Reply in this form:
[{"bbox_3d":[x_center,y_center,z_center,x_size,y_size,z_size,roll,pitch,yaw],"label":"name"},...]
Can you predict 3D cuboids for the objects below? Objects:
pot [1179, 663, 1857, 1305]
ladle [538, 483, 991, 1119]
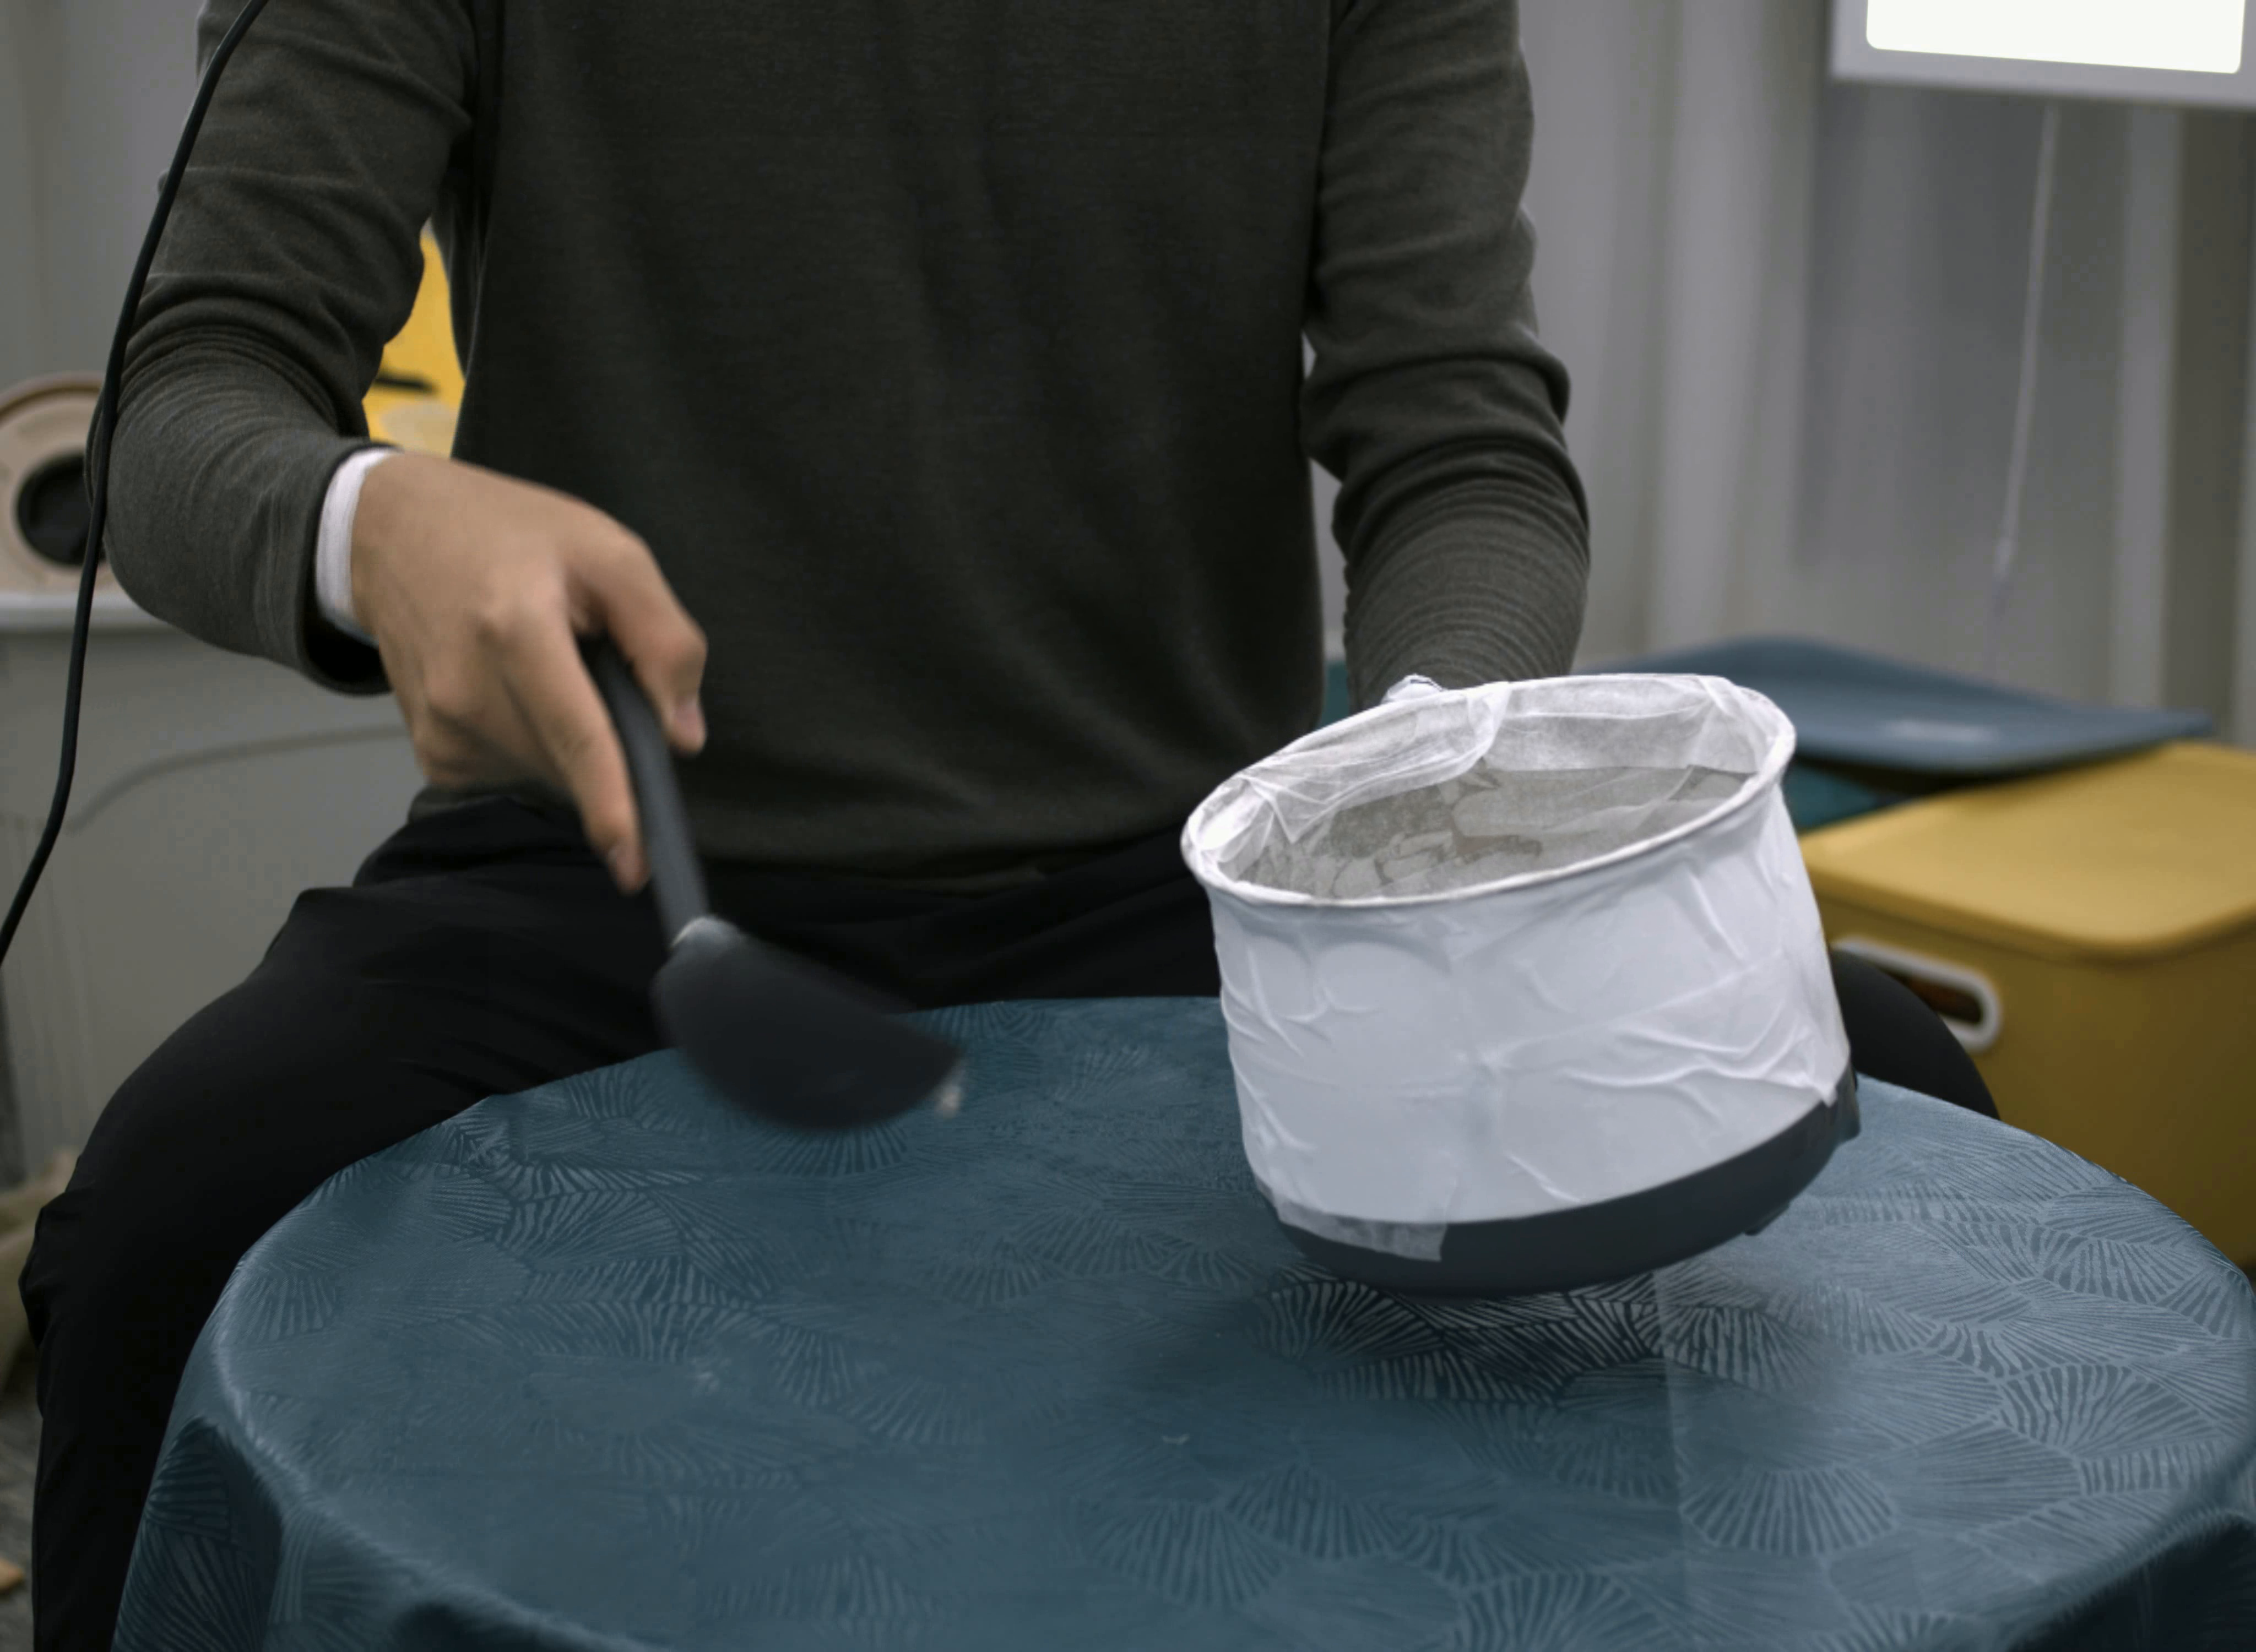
[{"bbox_3d":[0.108,0.037,1.530,0.178,0.138,0.231,-14,19,-7],"label":"pot"},{"bbox_3d":[-0.116,-0.025,1.473,0.087,0.064,0.310,30,22,-35],"label":"ladle"}]
